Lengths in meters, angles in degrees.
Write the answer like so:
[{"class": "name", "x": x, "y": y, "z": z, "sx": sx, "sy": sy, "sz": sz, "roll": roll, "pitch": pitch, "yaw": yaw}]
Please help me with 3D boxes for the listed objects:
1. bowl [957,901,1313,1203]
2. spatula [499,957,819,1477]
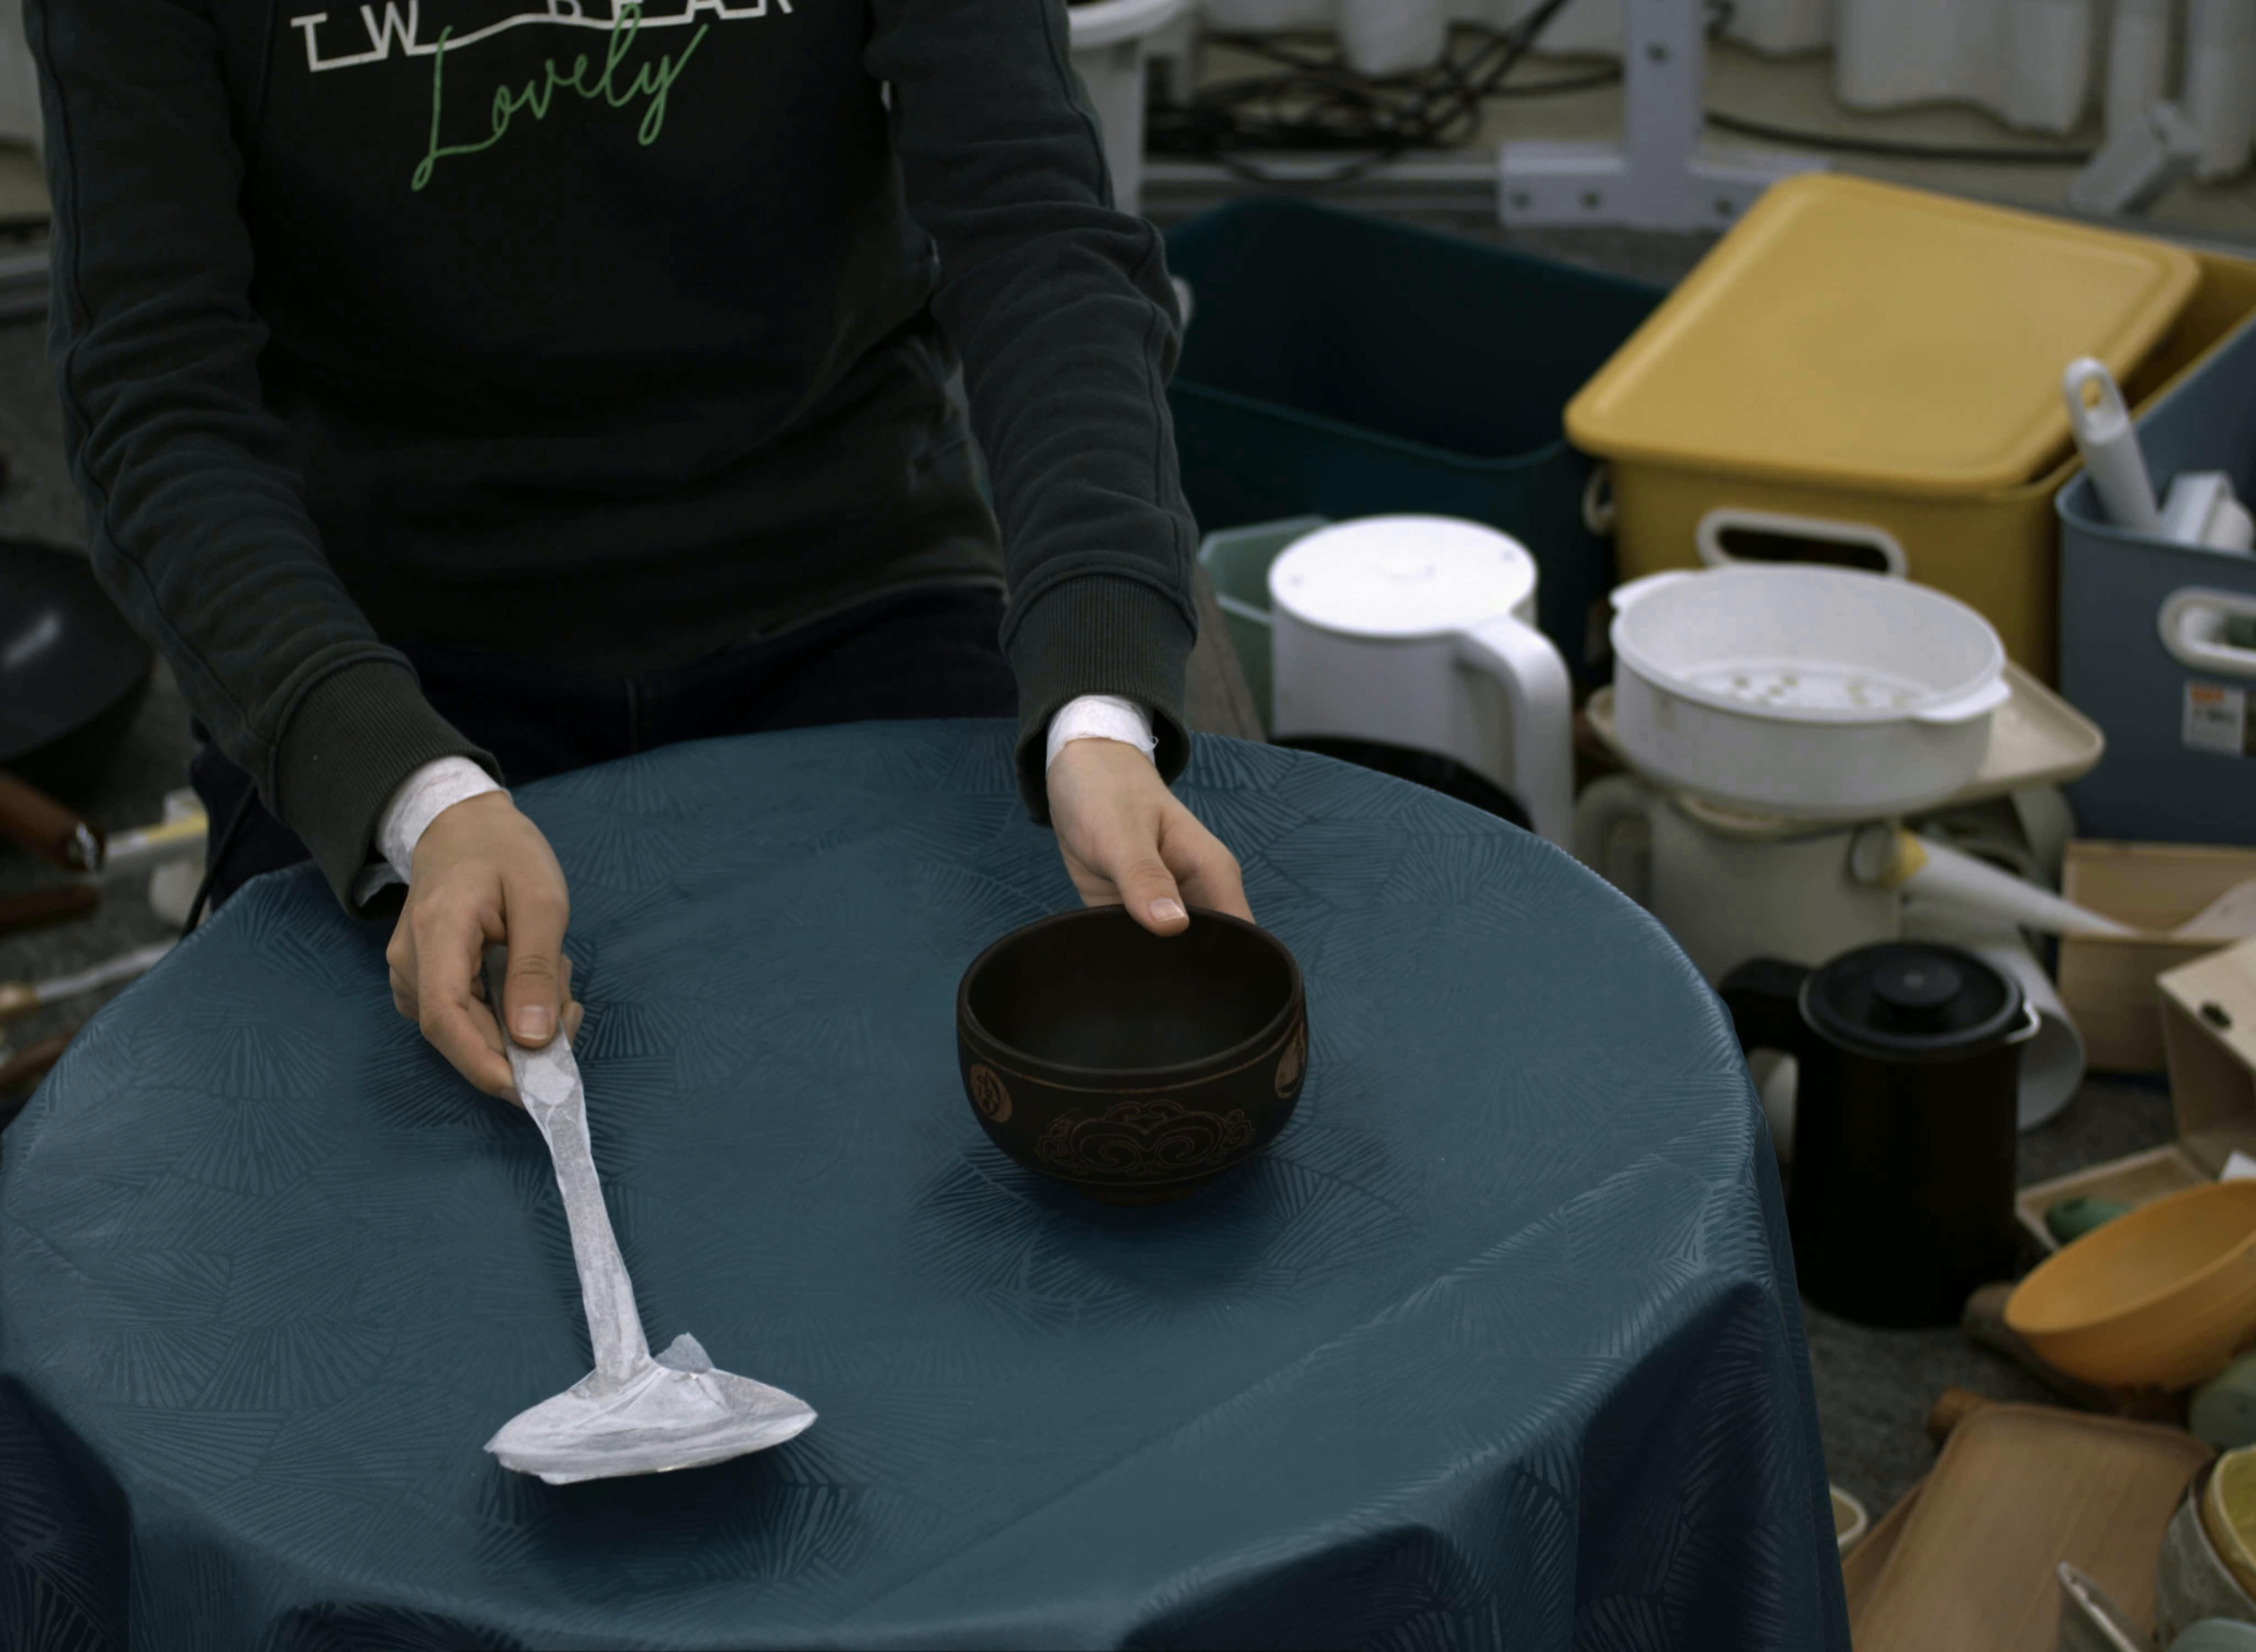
[{"class": "bowl", "x": 0.003, "y": 0.081, "z": 1.862, "sx": 0.117, "sy": 0.069, "sz": 0.120, "roll": -1, "pitch": 26, "yaw": 1}, {"class": "spatula", "x": -0.174, "y": 0.119, "z": 1.832, "sx": 0.098, "sy": 0.044, "sz": 0.369, "roll": -9, "pitch": 31, "yaw": -9}]
